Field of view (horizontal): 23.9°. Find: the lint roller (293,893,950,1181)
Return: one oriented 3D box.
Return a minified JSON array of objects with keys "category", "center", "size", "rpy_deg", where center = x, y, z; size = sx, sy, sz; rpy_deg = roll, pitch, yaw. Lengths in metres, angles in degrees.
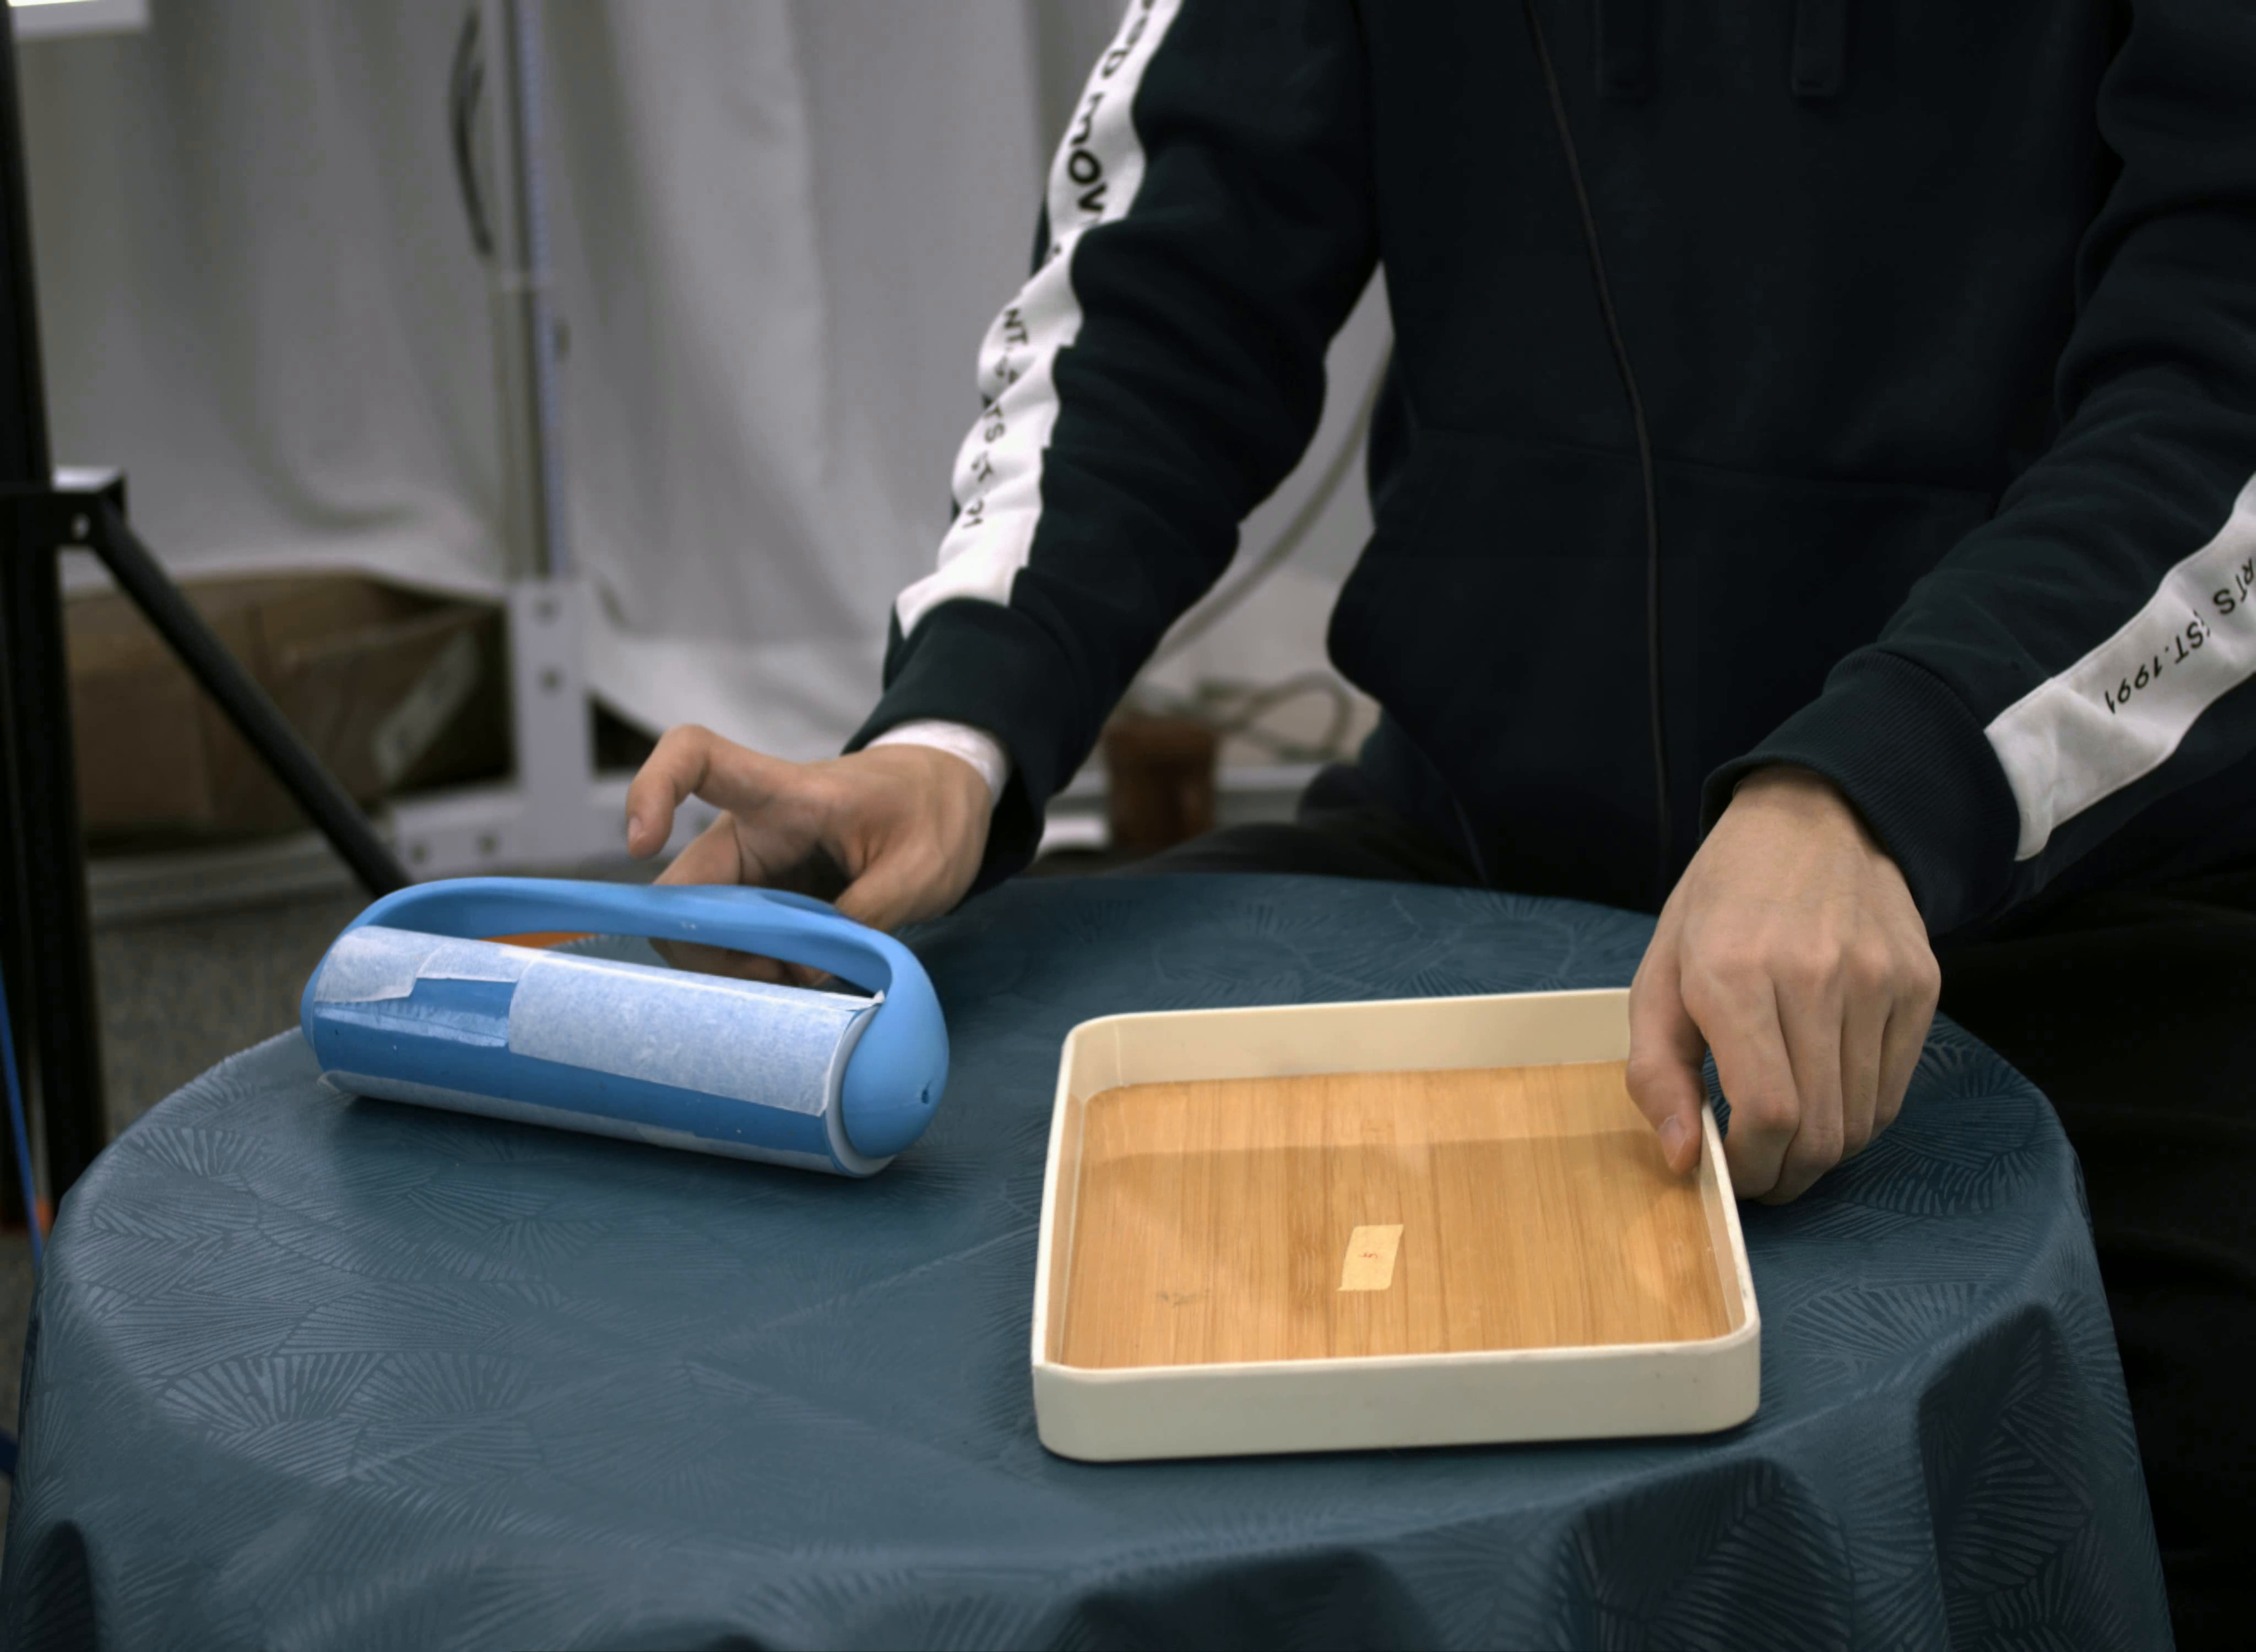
[{"category":"lint roller","center":[-0.132,0.053,1.674],"size":[0.232,0.068,0.177],"rpy_deg":[3,18,28]}]

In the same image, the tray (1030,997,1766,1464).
[{"category":"tray","center":[0.072,0.109,1.489],"size":[0.191,0.027,0.301],"rpy_deg":[-3,16,3]}]
